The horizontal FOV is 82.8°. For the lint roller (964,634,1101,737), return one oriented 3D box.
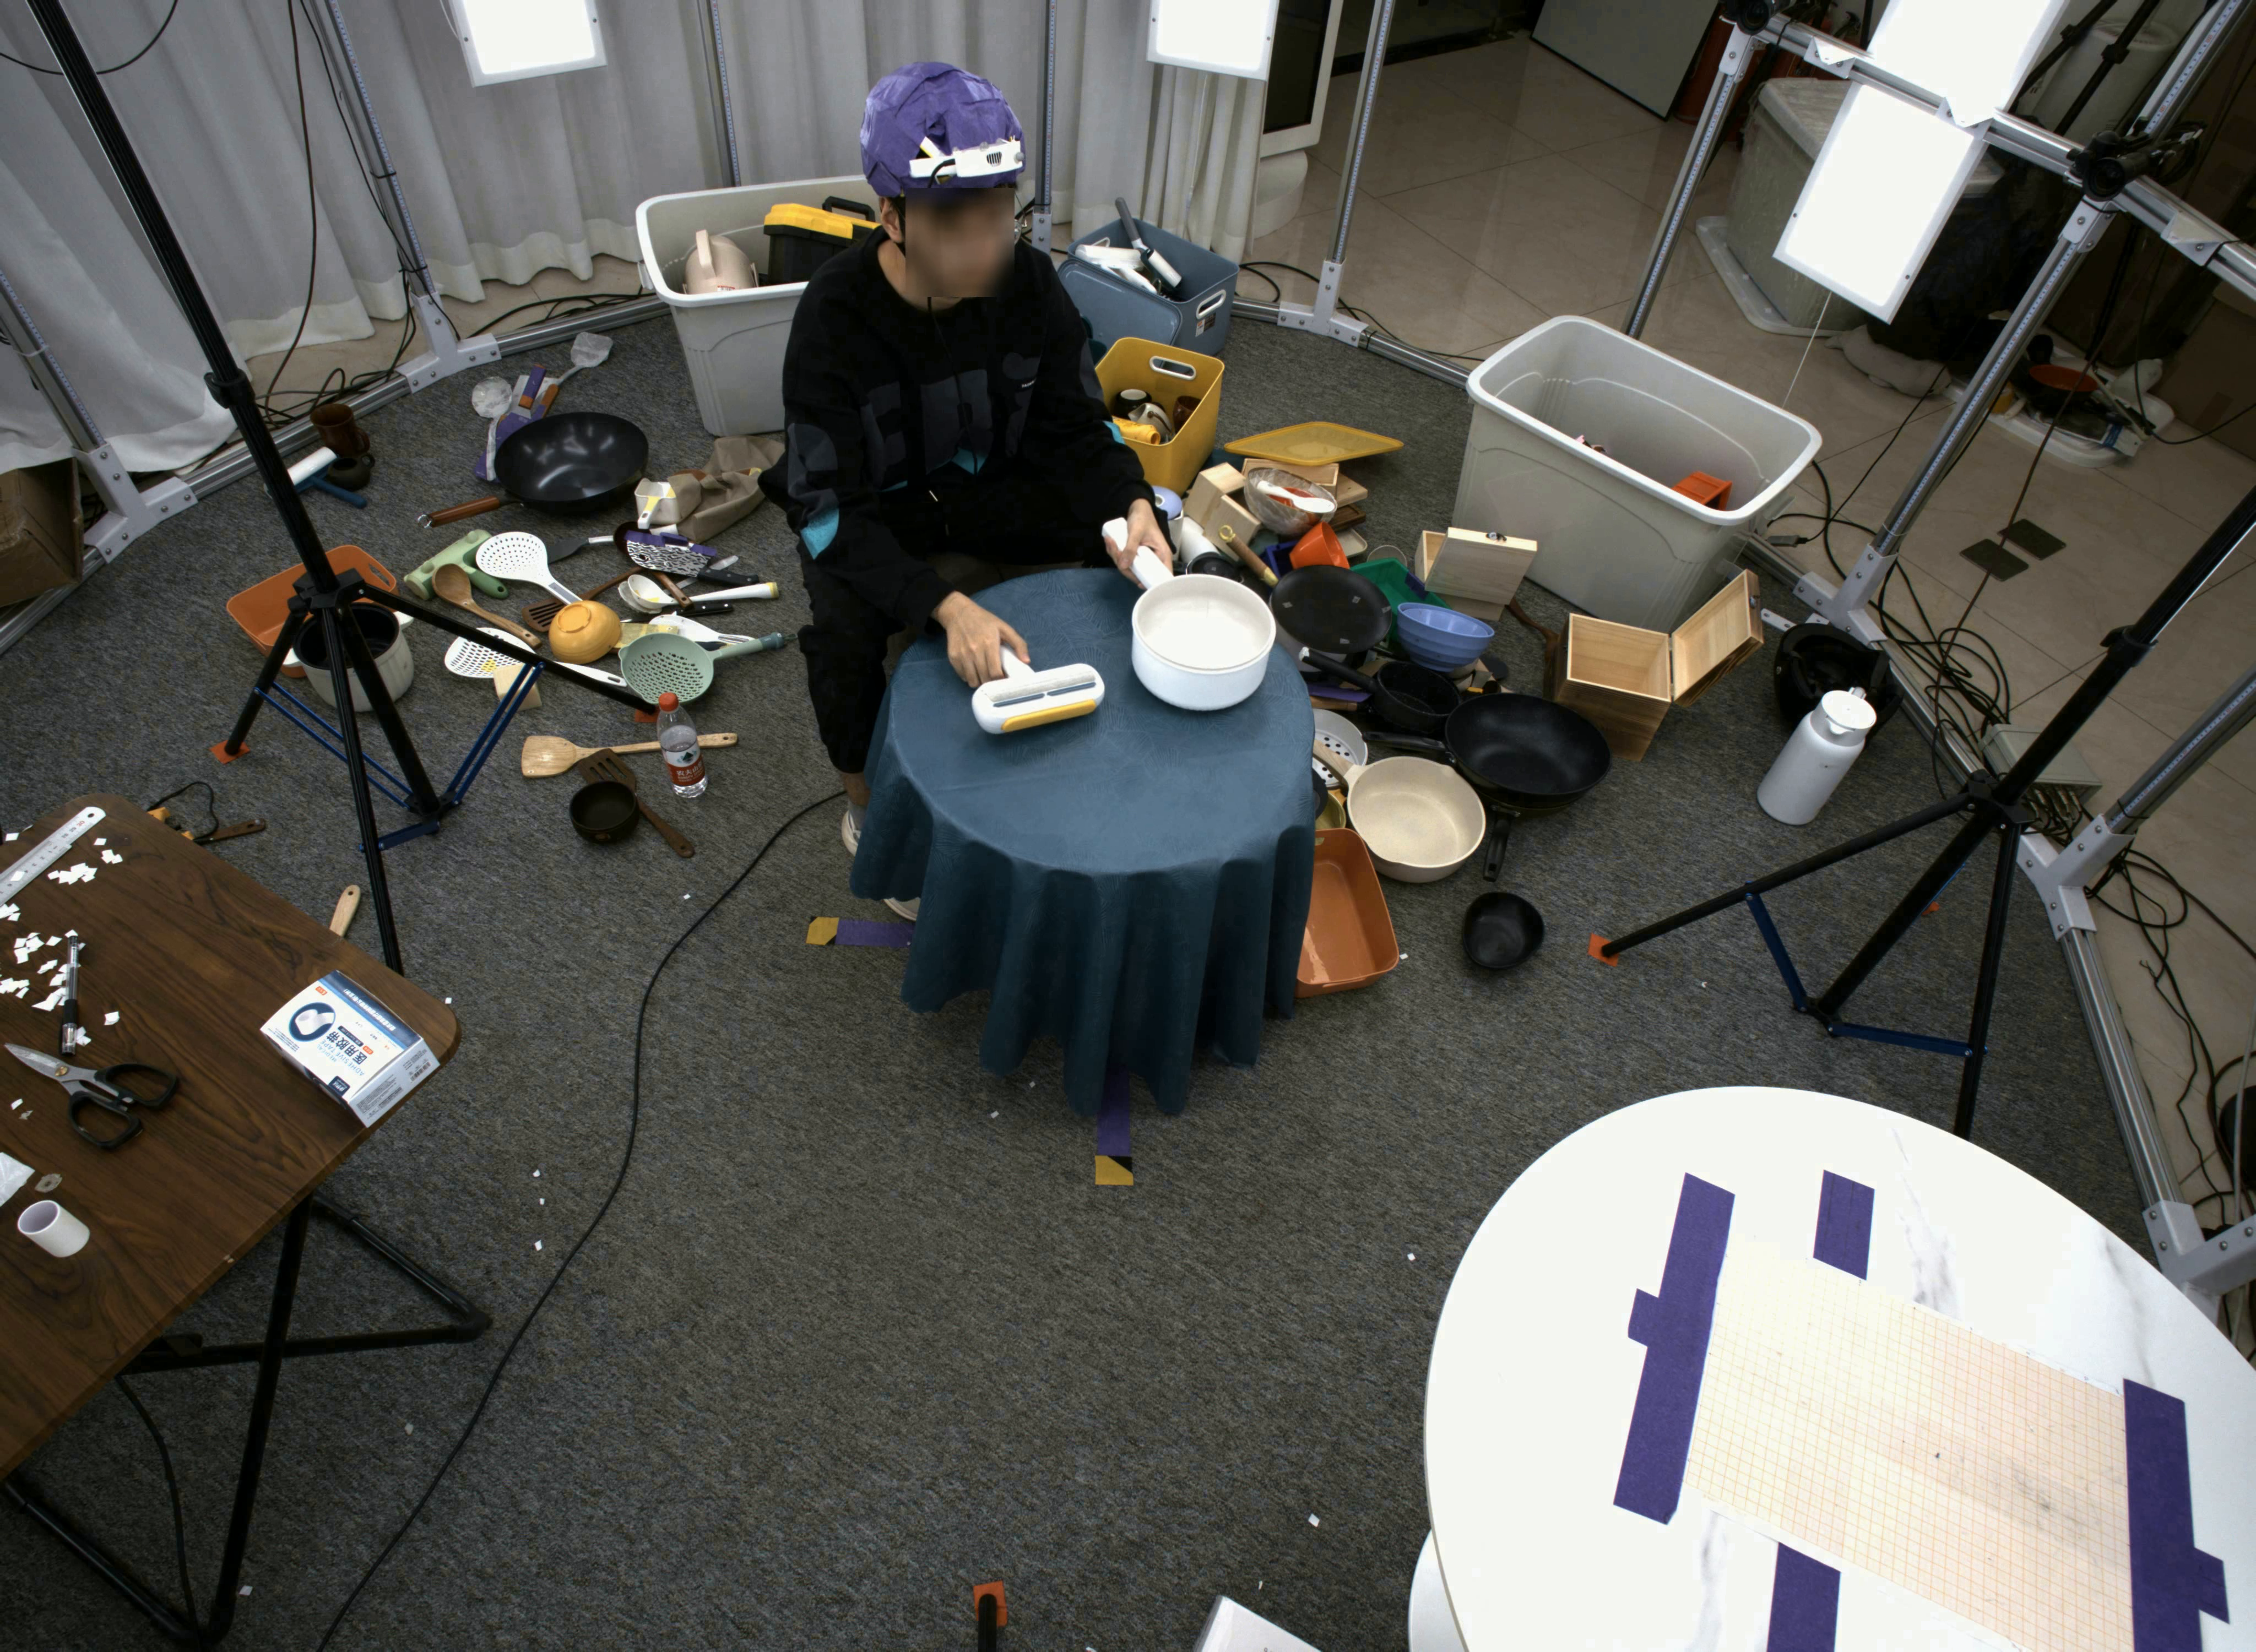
[{"bbox_3d":[-0.154,-0.212,1.792,0.193,0.072,0.196,-15,55,-23],"label":"lint roller"}]

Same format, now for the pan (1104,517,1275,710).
[{"bbox_3d":[0.065,-0.311,1.875,0.202,0.099,0.362,-22,54,-21],"label":"pan"}]
